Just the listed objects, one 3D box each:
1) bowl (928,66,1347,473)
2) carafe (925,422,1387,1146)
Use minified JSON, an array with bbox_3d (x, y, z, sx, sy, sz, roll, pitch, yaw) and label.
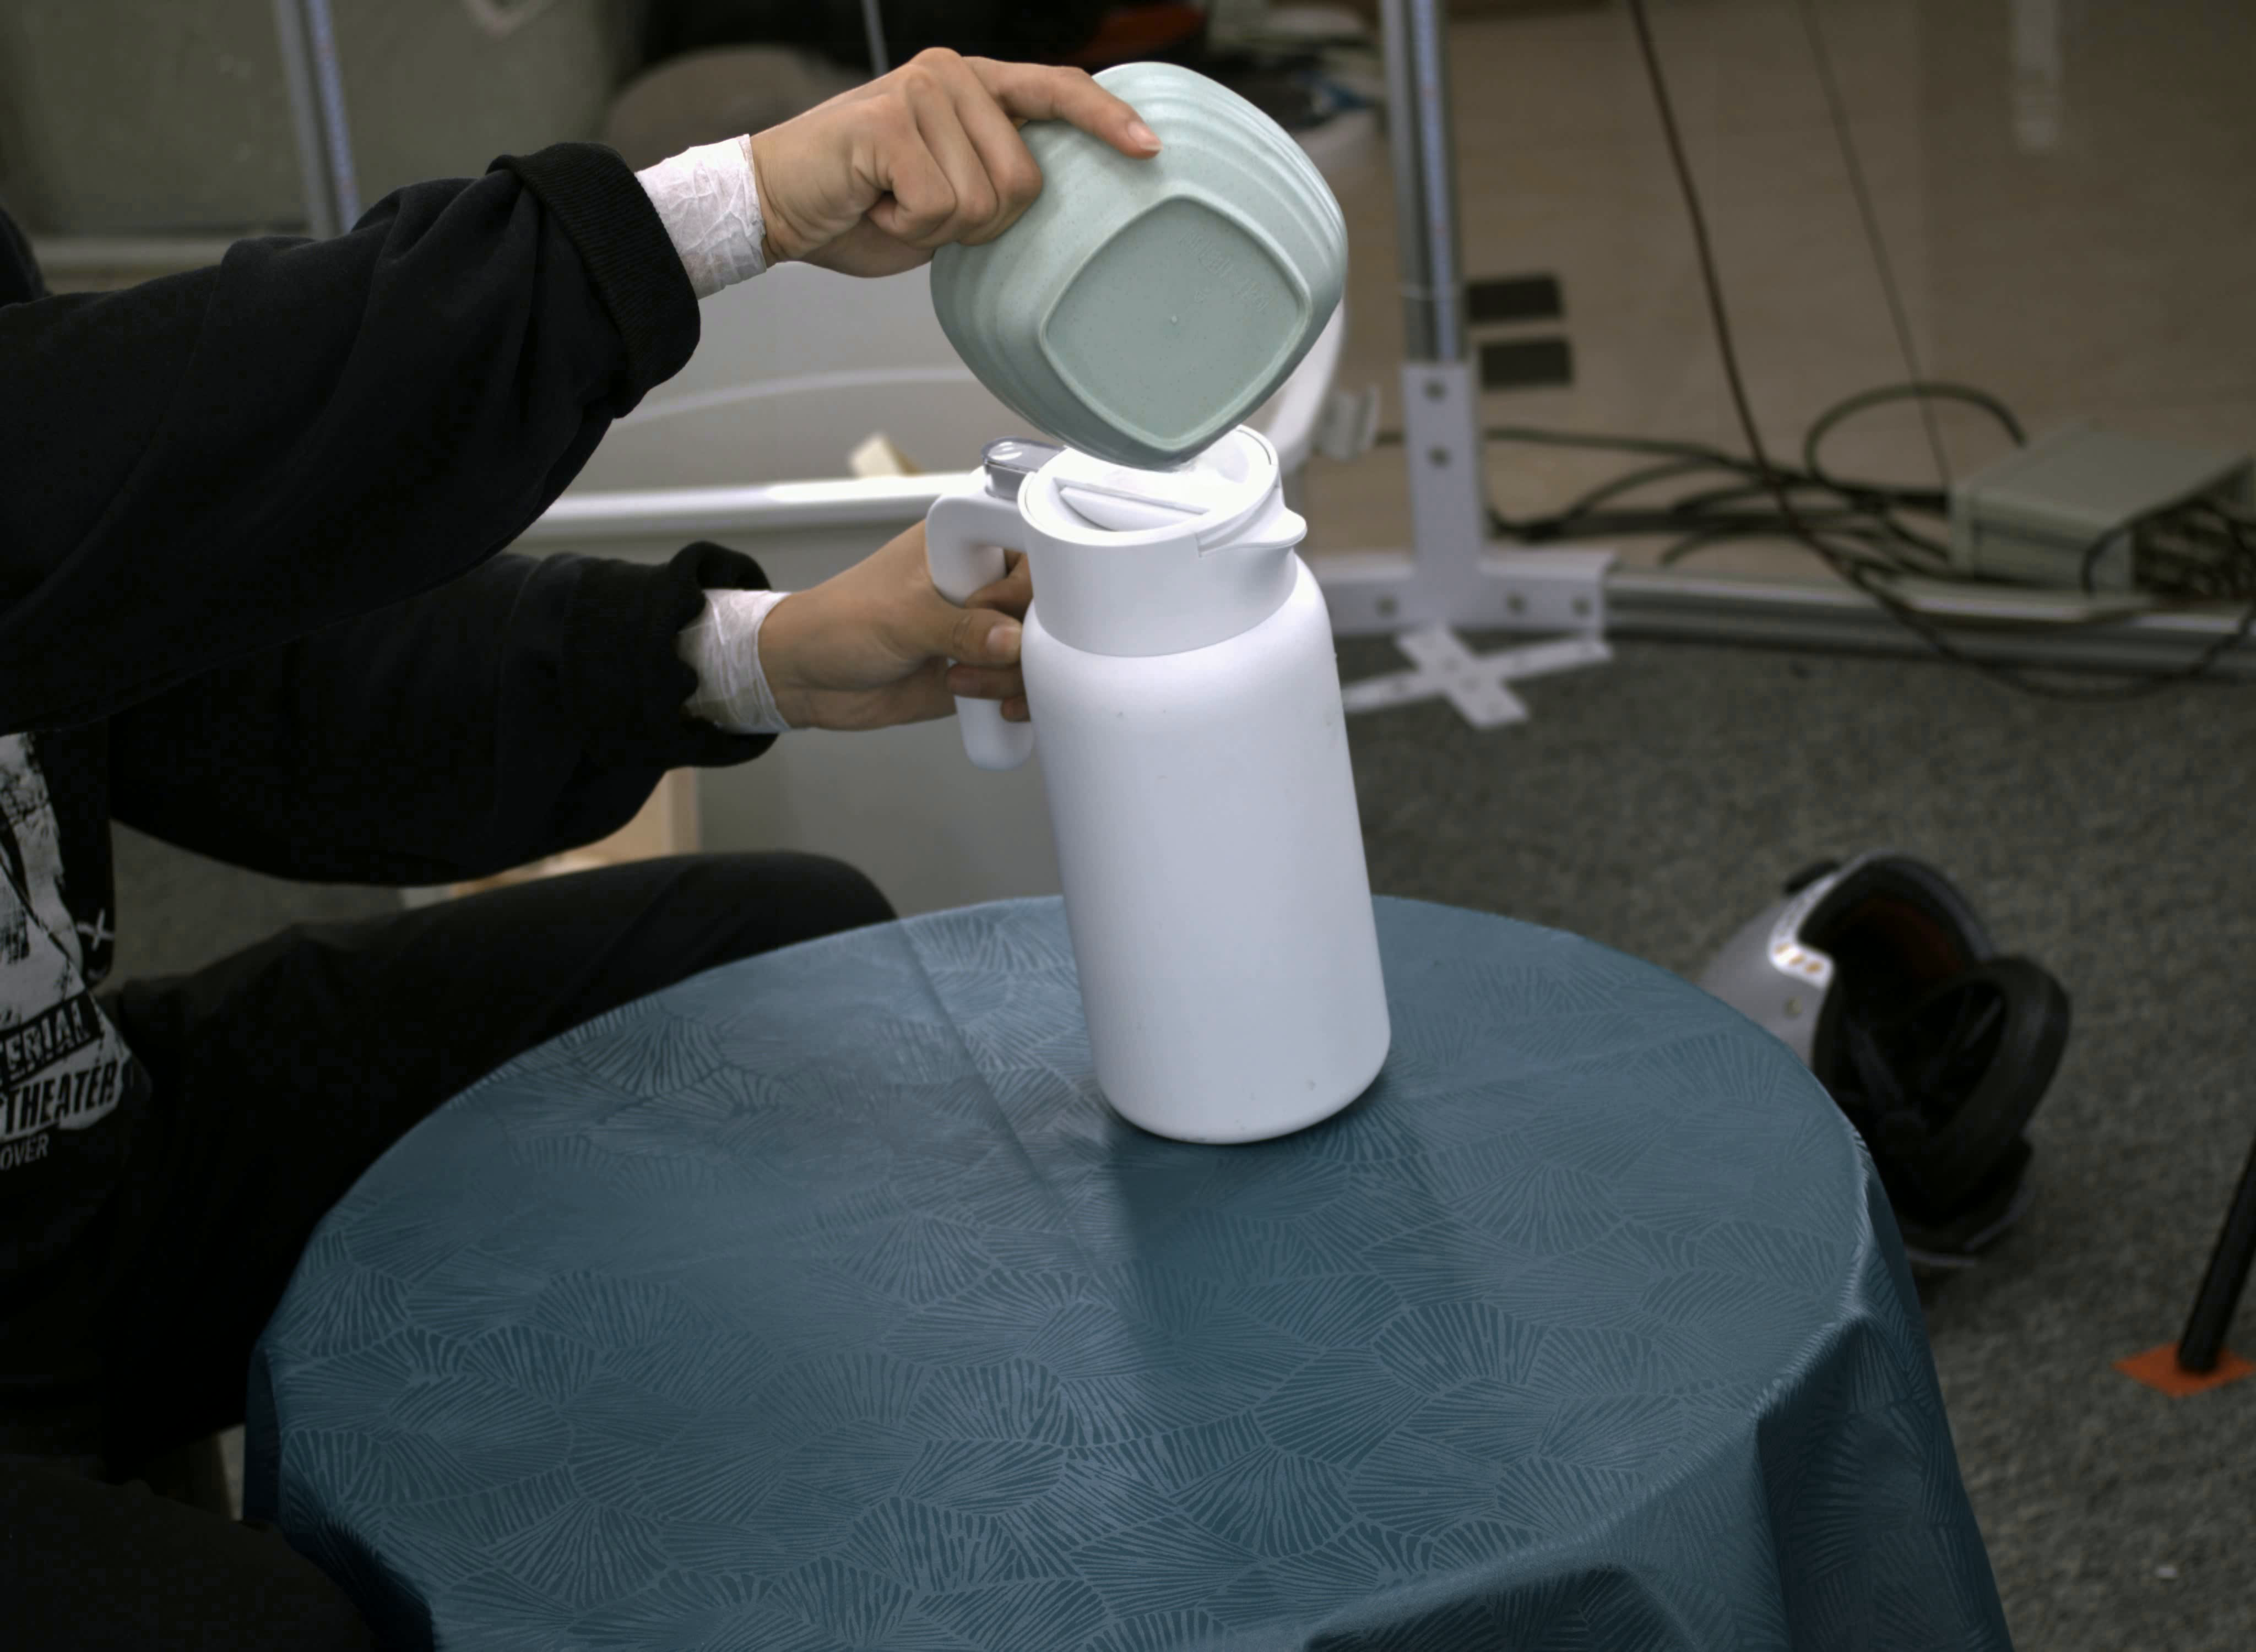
[{"bbox_3d":[0.010,-0.184,1.965,0.151,0.154,0.058,-11,31,-10],"label":"bowl"},{"bbox_3d":[0.012,-0.019,2.154,0.172,0.274,0.122,14,41,32],"label":"carafe"}]
